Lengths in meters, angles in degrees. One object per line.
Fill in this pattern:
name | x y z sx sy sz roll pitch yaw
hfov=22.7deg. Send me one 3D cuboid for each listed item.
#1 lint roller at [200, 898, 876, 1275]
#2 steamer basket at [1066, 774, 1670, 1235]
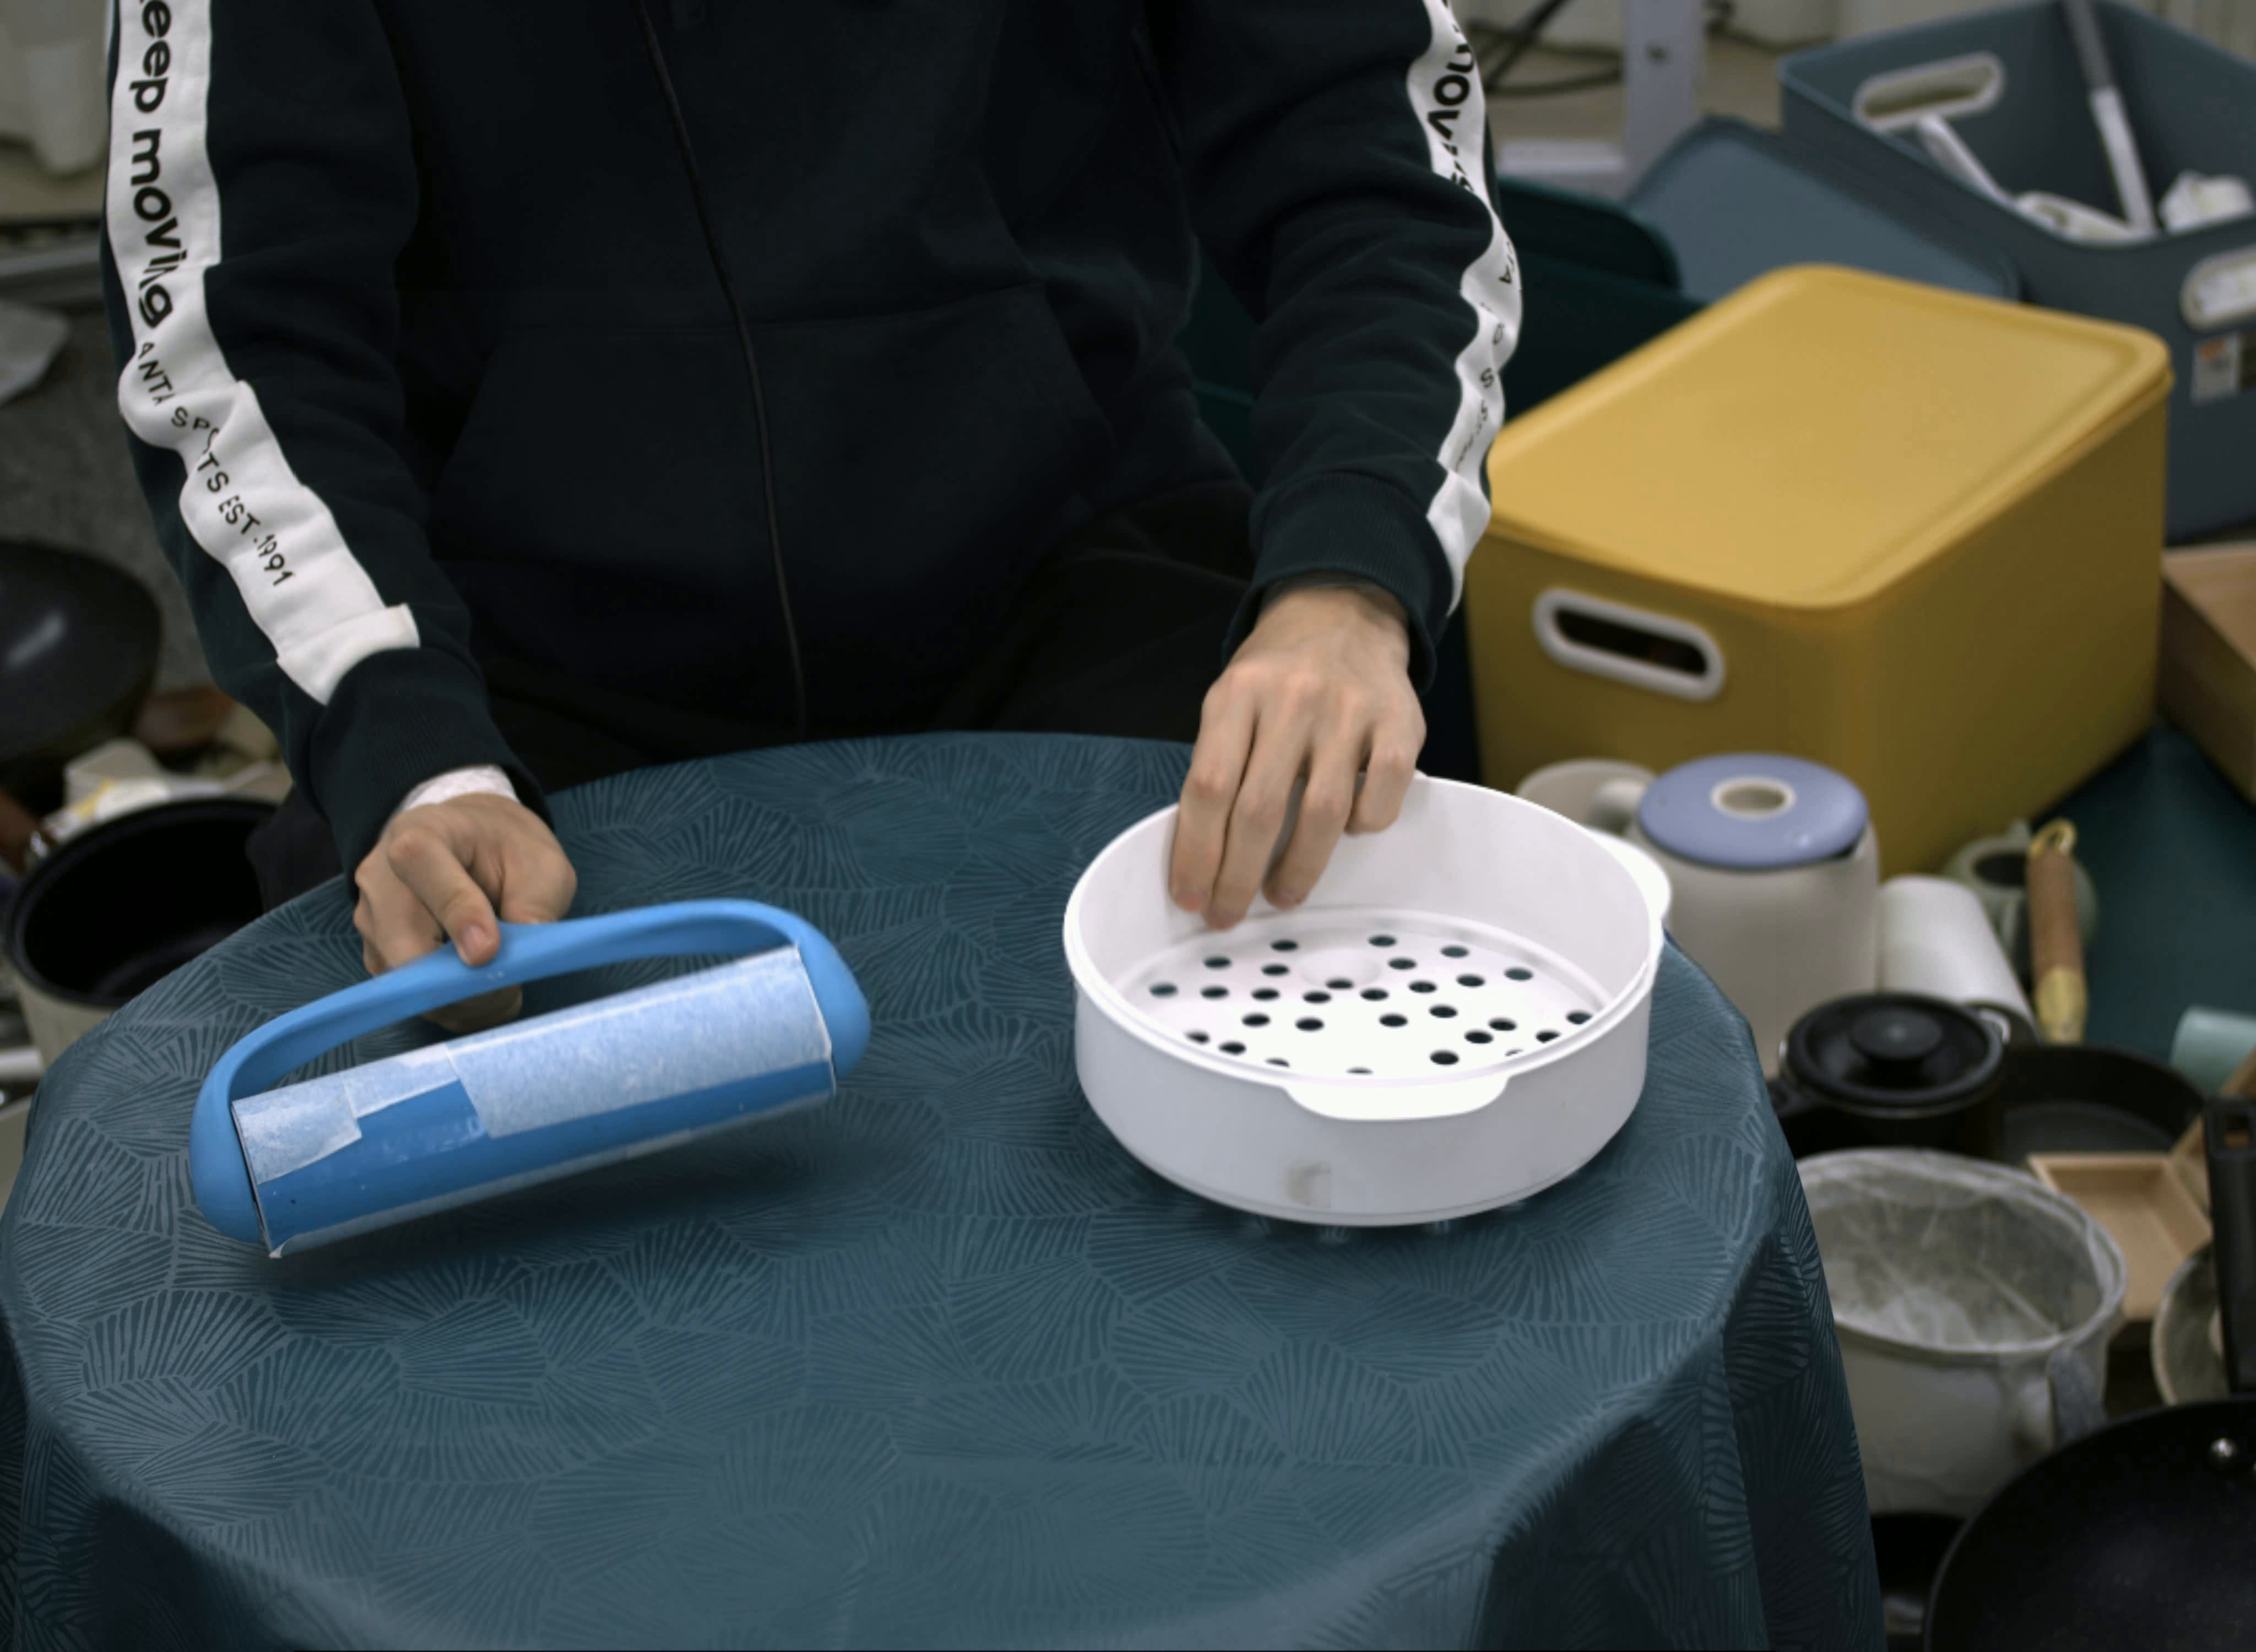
lint roller | -0.212 0.069 1.893 0.229 0.067 0.181 -20 28 -14
steamer basket | 0.079 0.061 1.884 0.201 0.068 0.234 0 28 -5
